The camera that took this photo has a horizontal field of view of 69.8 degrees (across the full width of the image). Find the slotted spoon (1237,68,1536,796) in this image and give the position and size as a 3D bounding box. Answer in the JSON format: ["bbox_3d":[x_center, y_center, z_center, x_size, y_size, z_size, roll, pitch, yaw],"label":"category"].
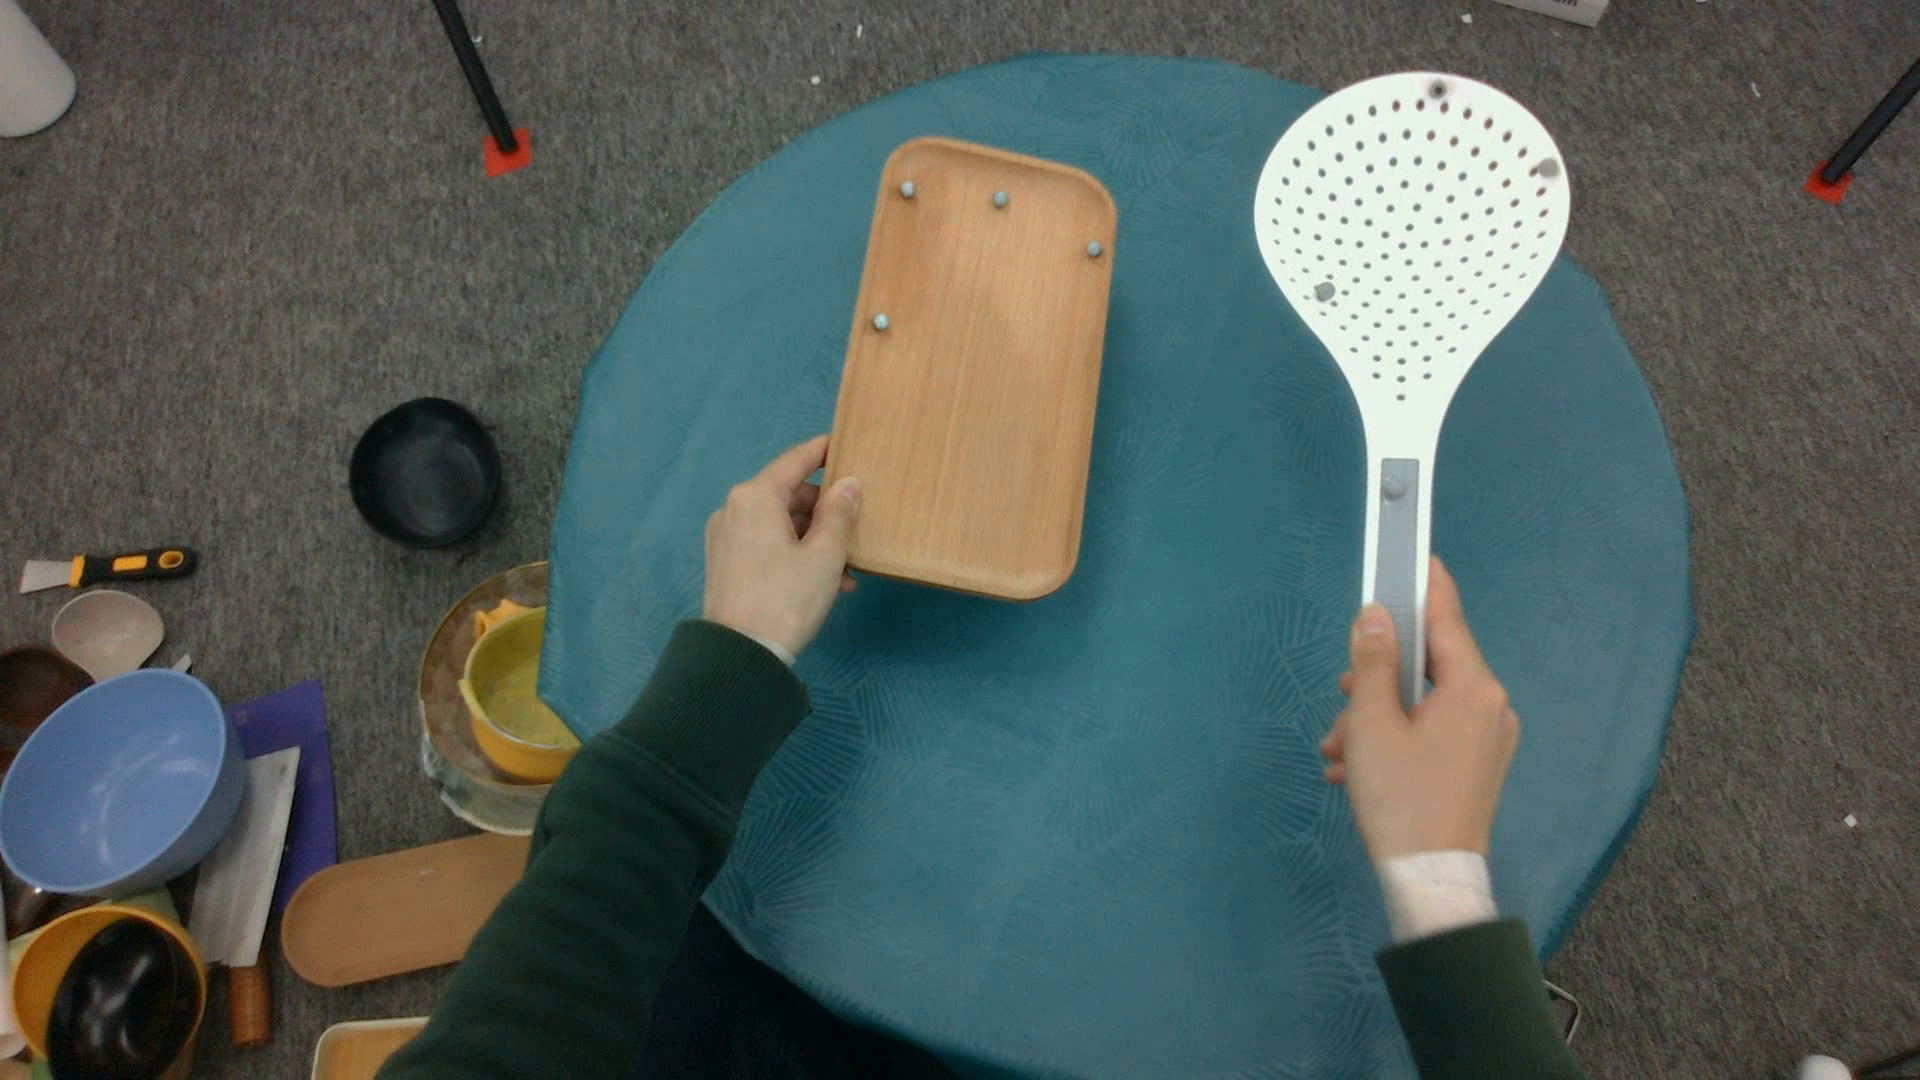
[{"bbox_3d":[0.188,-0.060,0.625,0.136,0.045,0.351,3,67,15],"label":"slotted spoon"}]

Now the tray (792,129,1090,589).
[{"bbox_3d":[-0.005,-0.097,0.696,0.130,0.023,0.251,10,67,-5],"label":"tray"}]
